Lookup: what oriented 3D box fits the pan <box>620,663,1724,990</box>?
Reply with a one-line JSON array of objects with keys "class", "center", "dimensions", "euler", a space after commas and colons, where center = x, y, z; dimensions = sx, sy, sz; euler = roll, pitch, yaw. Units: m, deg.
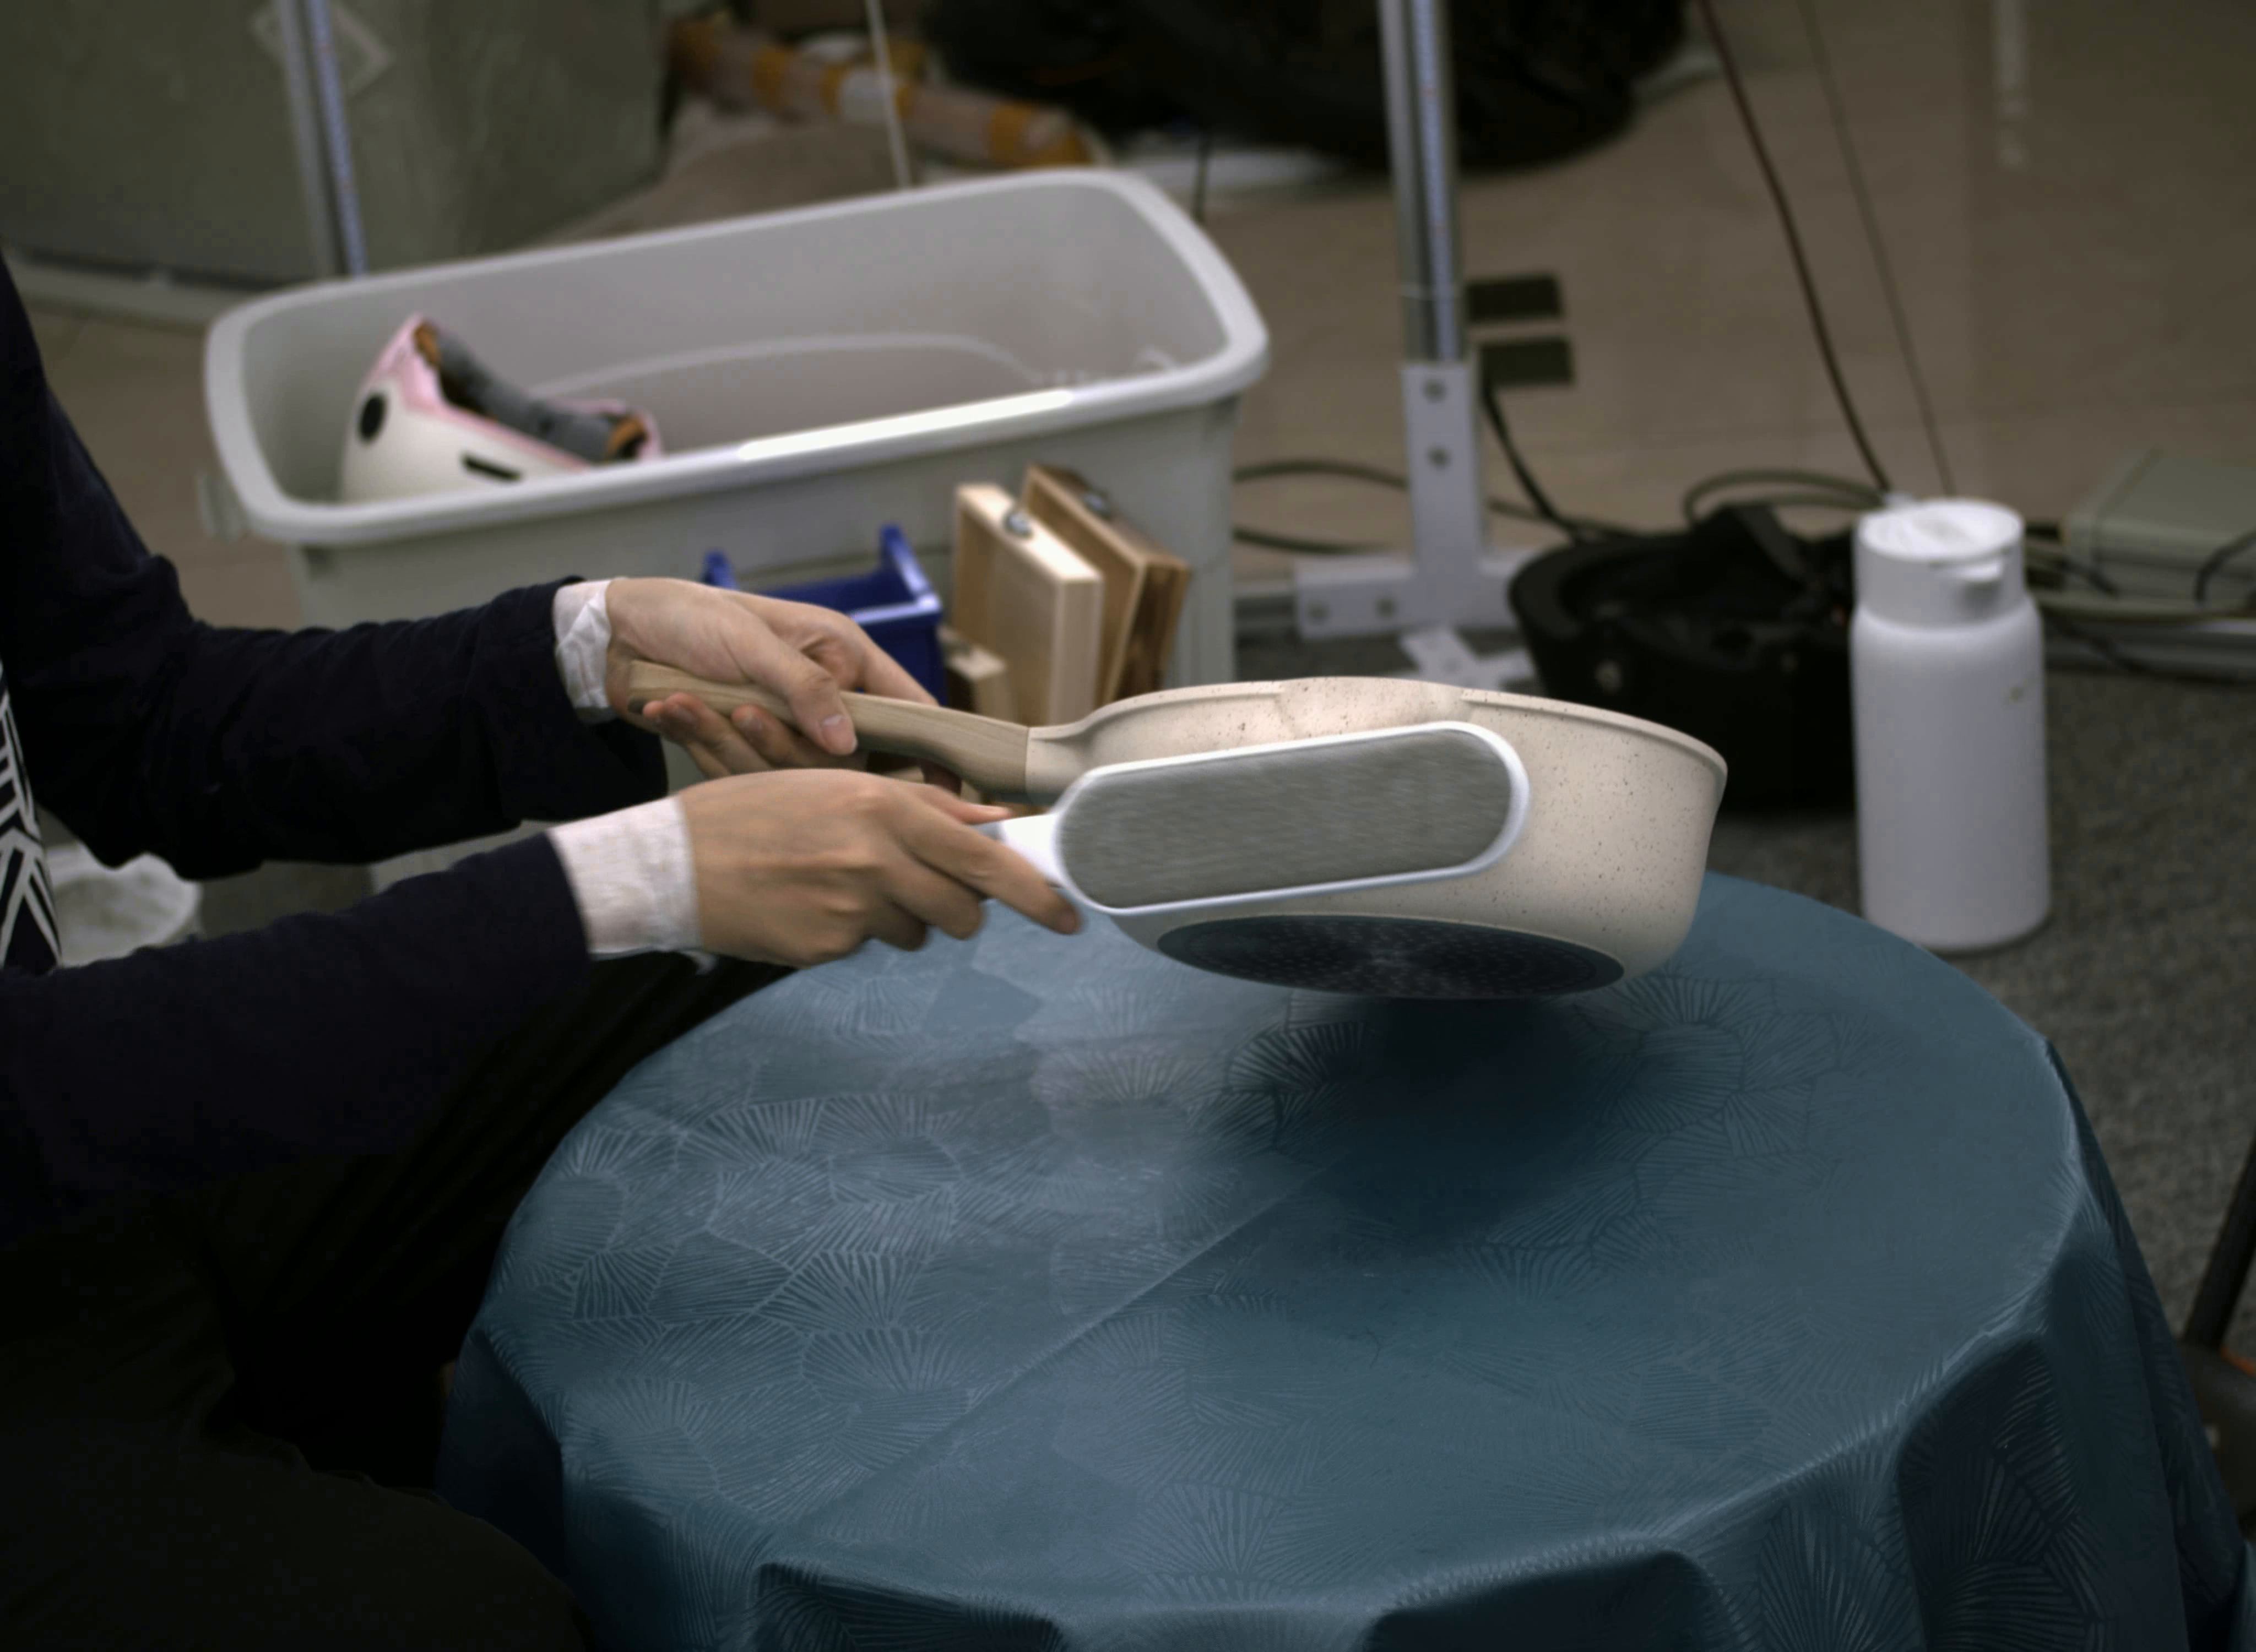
[{"class": "pan", "center": [0.012, -0.001, 2.202], "dimensions": [0.434, 0.102, 0.264], "euler": [3, -7, 8]}]

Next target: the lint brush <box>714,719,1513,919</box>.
[{"class": "lint brush", "center": [-0.008, 0.003, 2.081], "dimensions": [0.309, 0.060, 0.021], "euler": [-7, 0, 17]}]
